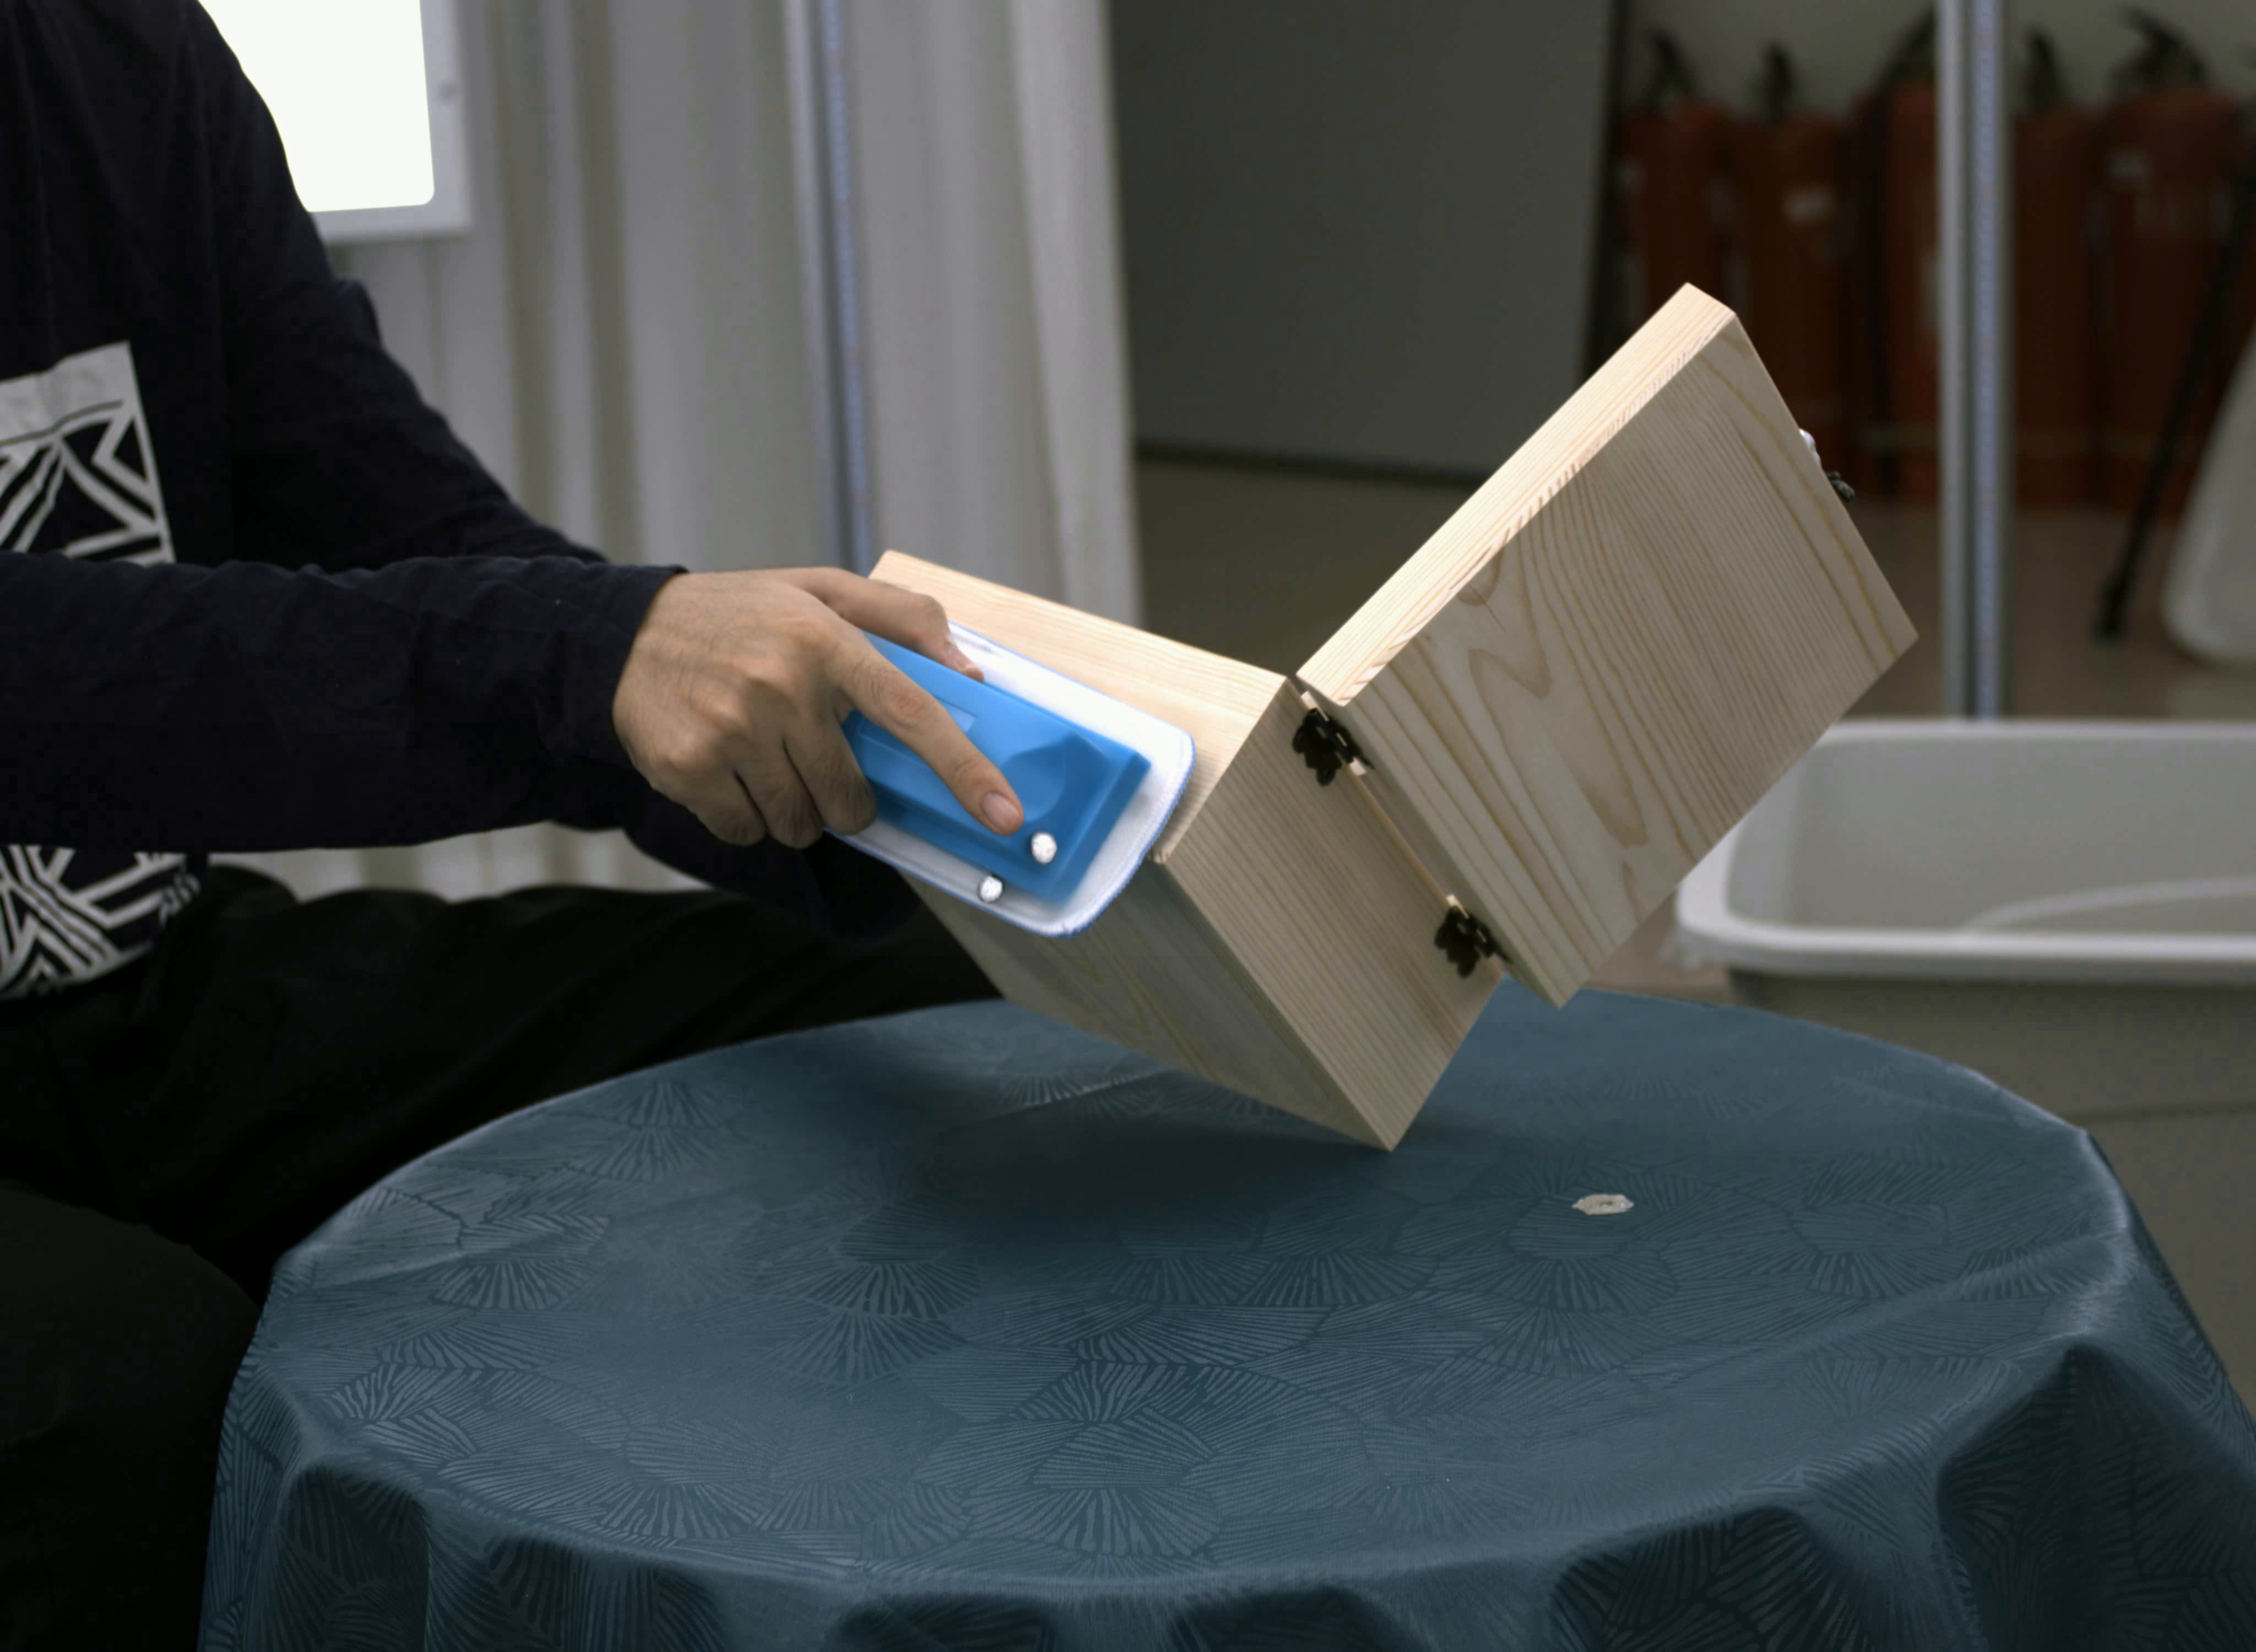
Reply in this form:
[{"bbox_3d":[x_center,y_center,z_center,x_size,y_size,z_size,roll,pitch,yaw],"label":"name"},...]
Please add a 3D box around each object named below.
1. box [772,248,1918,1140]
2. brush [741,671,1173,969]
[{"bbox_3d":[0.073,-0.060,1.806,0.267,0.180,0.253,19,69,40],"label":"box"},{"bbox_3d":[-0.059,-0.007,1.702,0.145,0.055,0.084,16,64,37],"label":"brush"}]
